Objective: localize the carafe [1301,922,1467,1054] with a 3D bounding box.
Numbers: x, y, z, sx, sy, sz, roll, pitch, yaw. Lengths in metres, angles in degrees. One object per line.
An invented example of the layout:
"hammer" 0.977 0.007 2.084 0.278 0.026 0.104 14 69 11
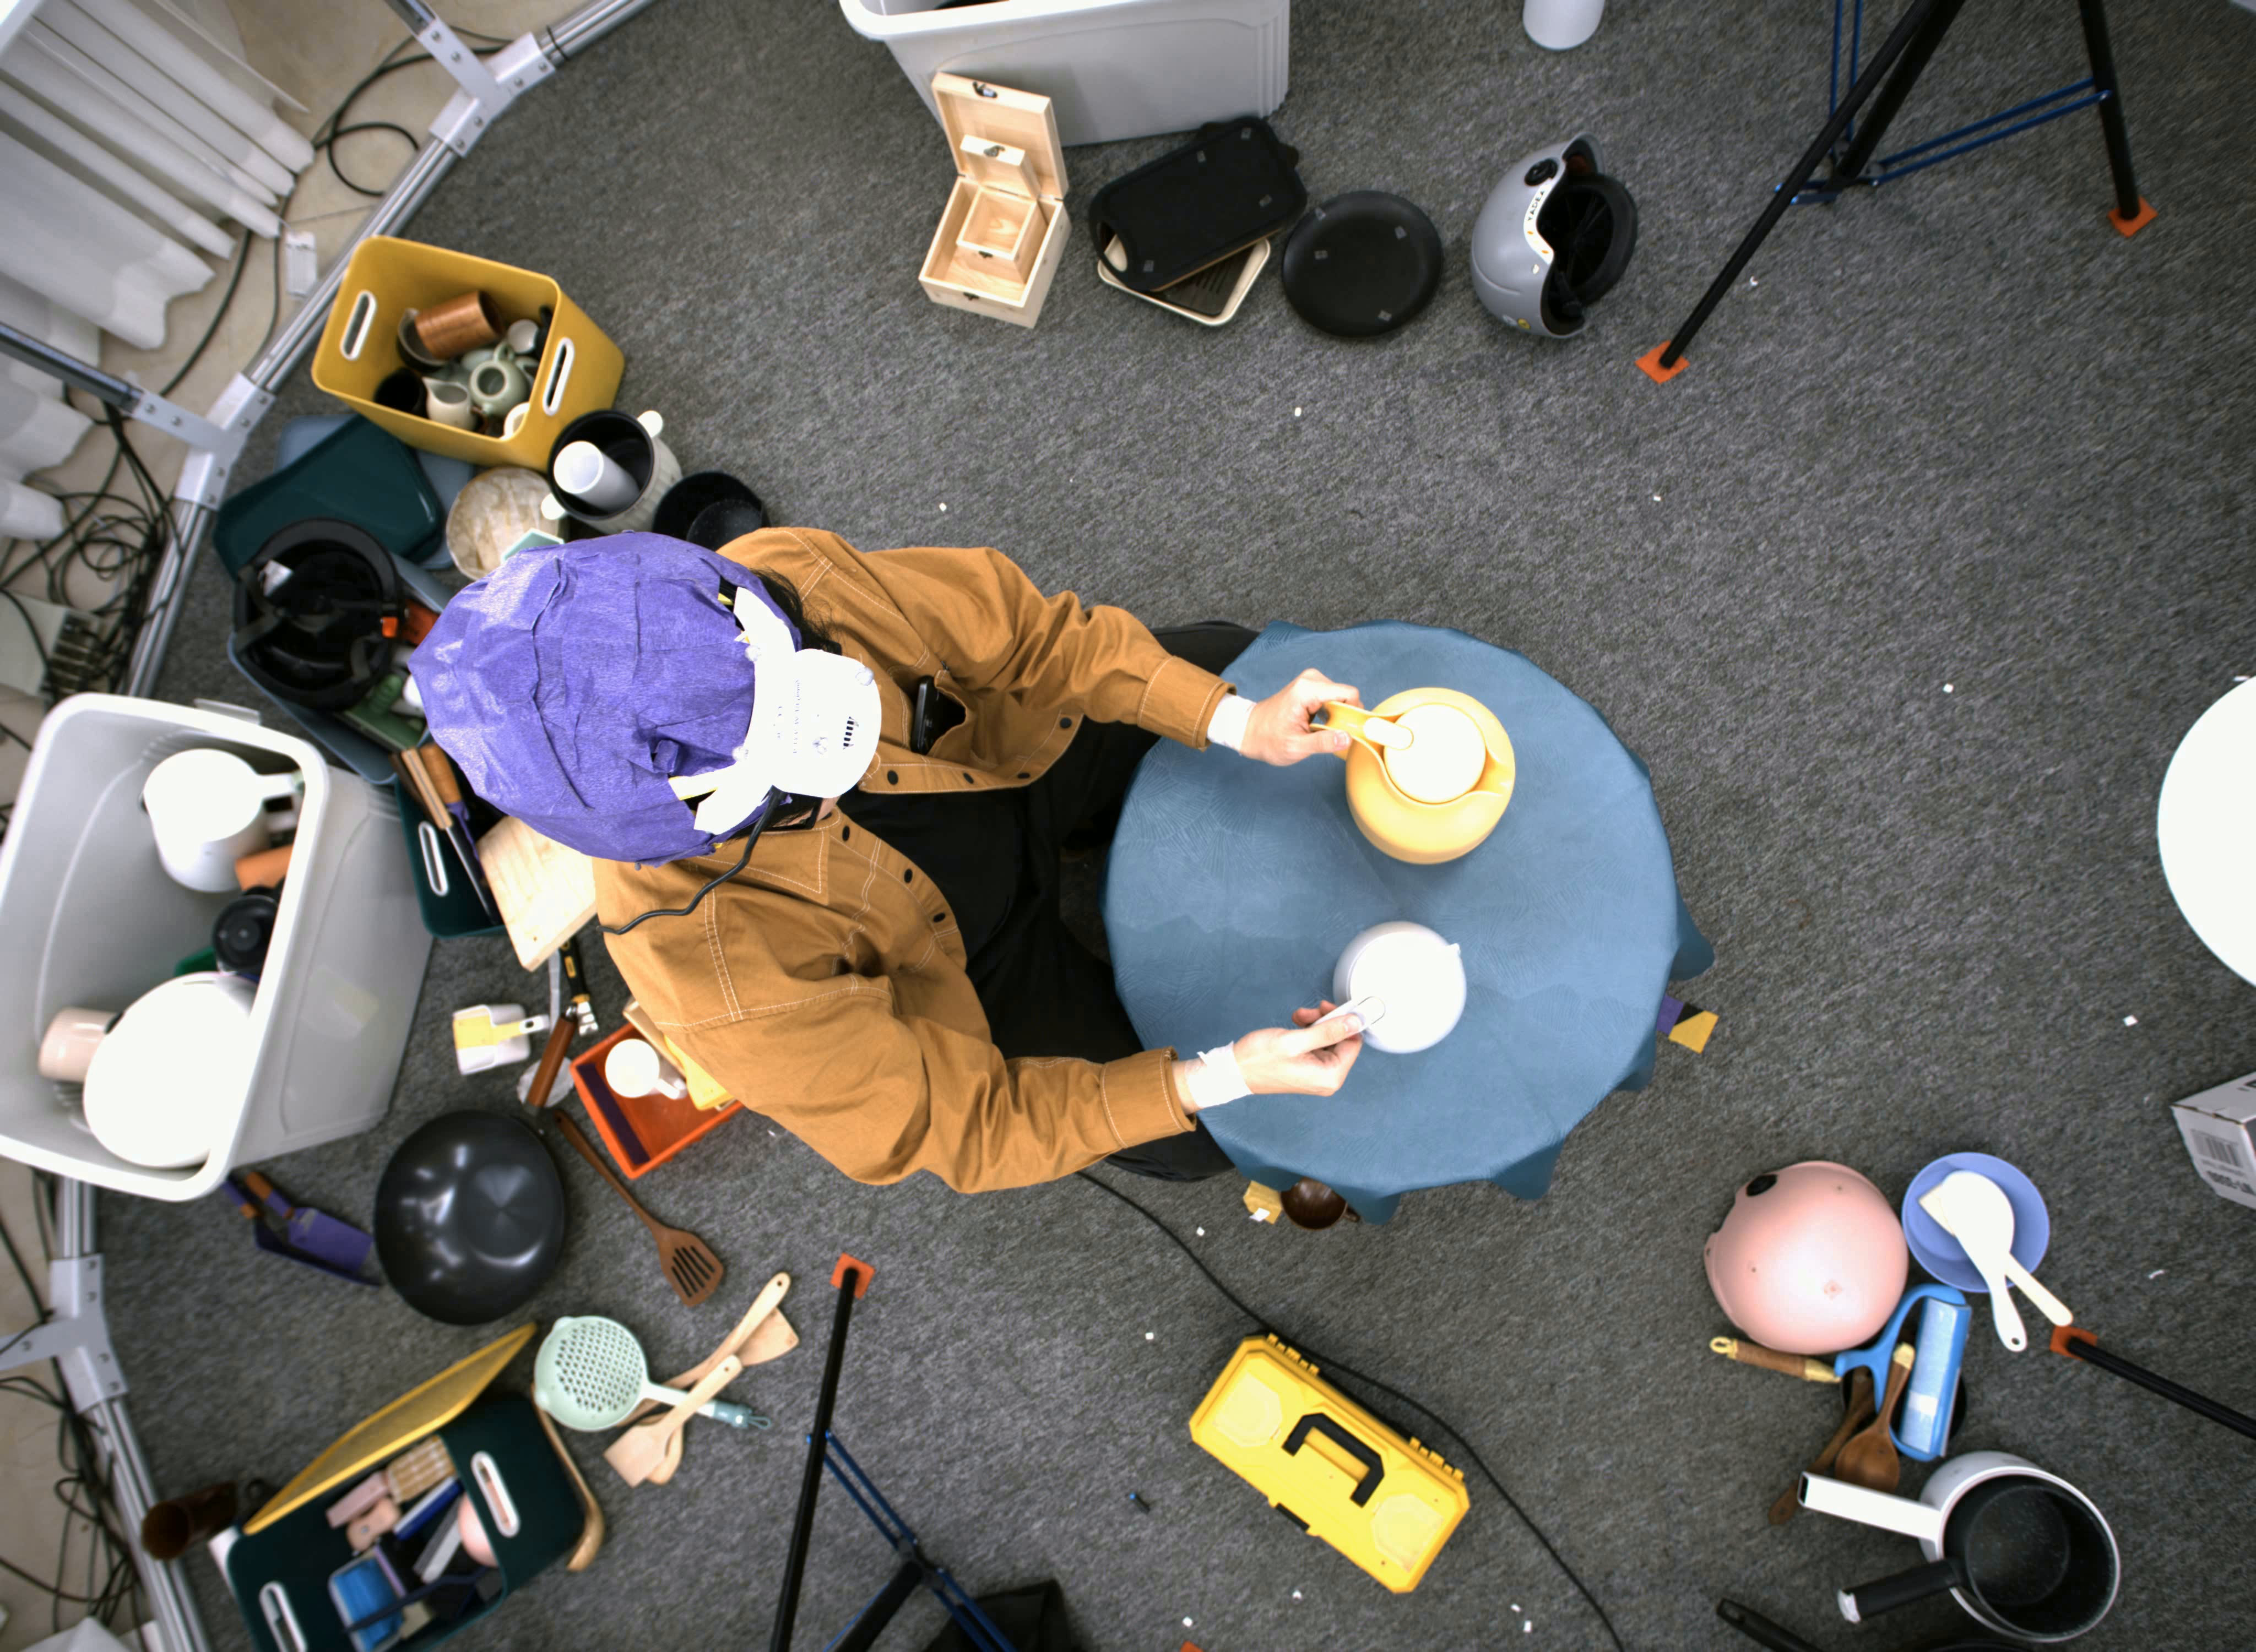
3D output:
"carafe" 0.246 0.165 1.335 0.169 0.249 0.131 -31 80 7

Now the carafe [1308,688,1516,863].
"carafe" 0.274 -0.062 1.335 0.202 0.261 0.163 25 88 10
